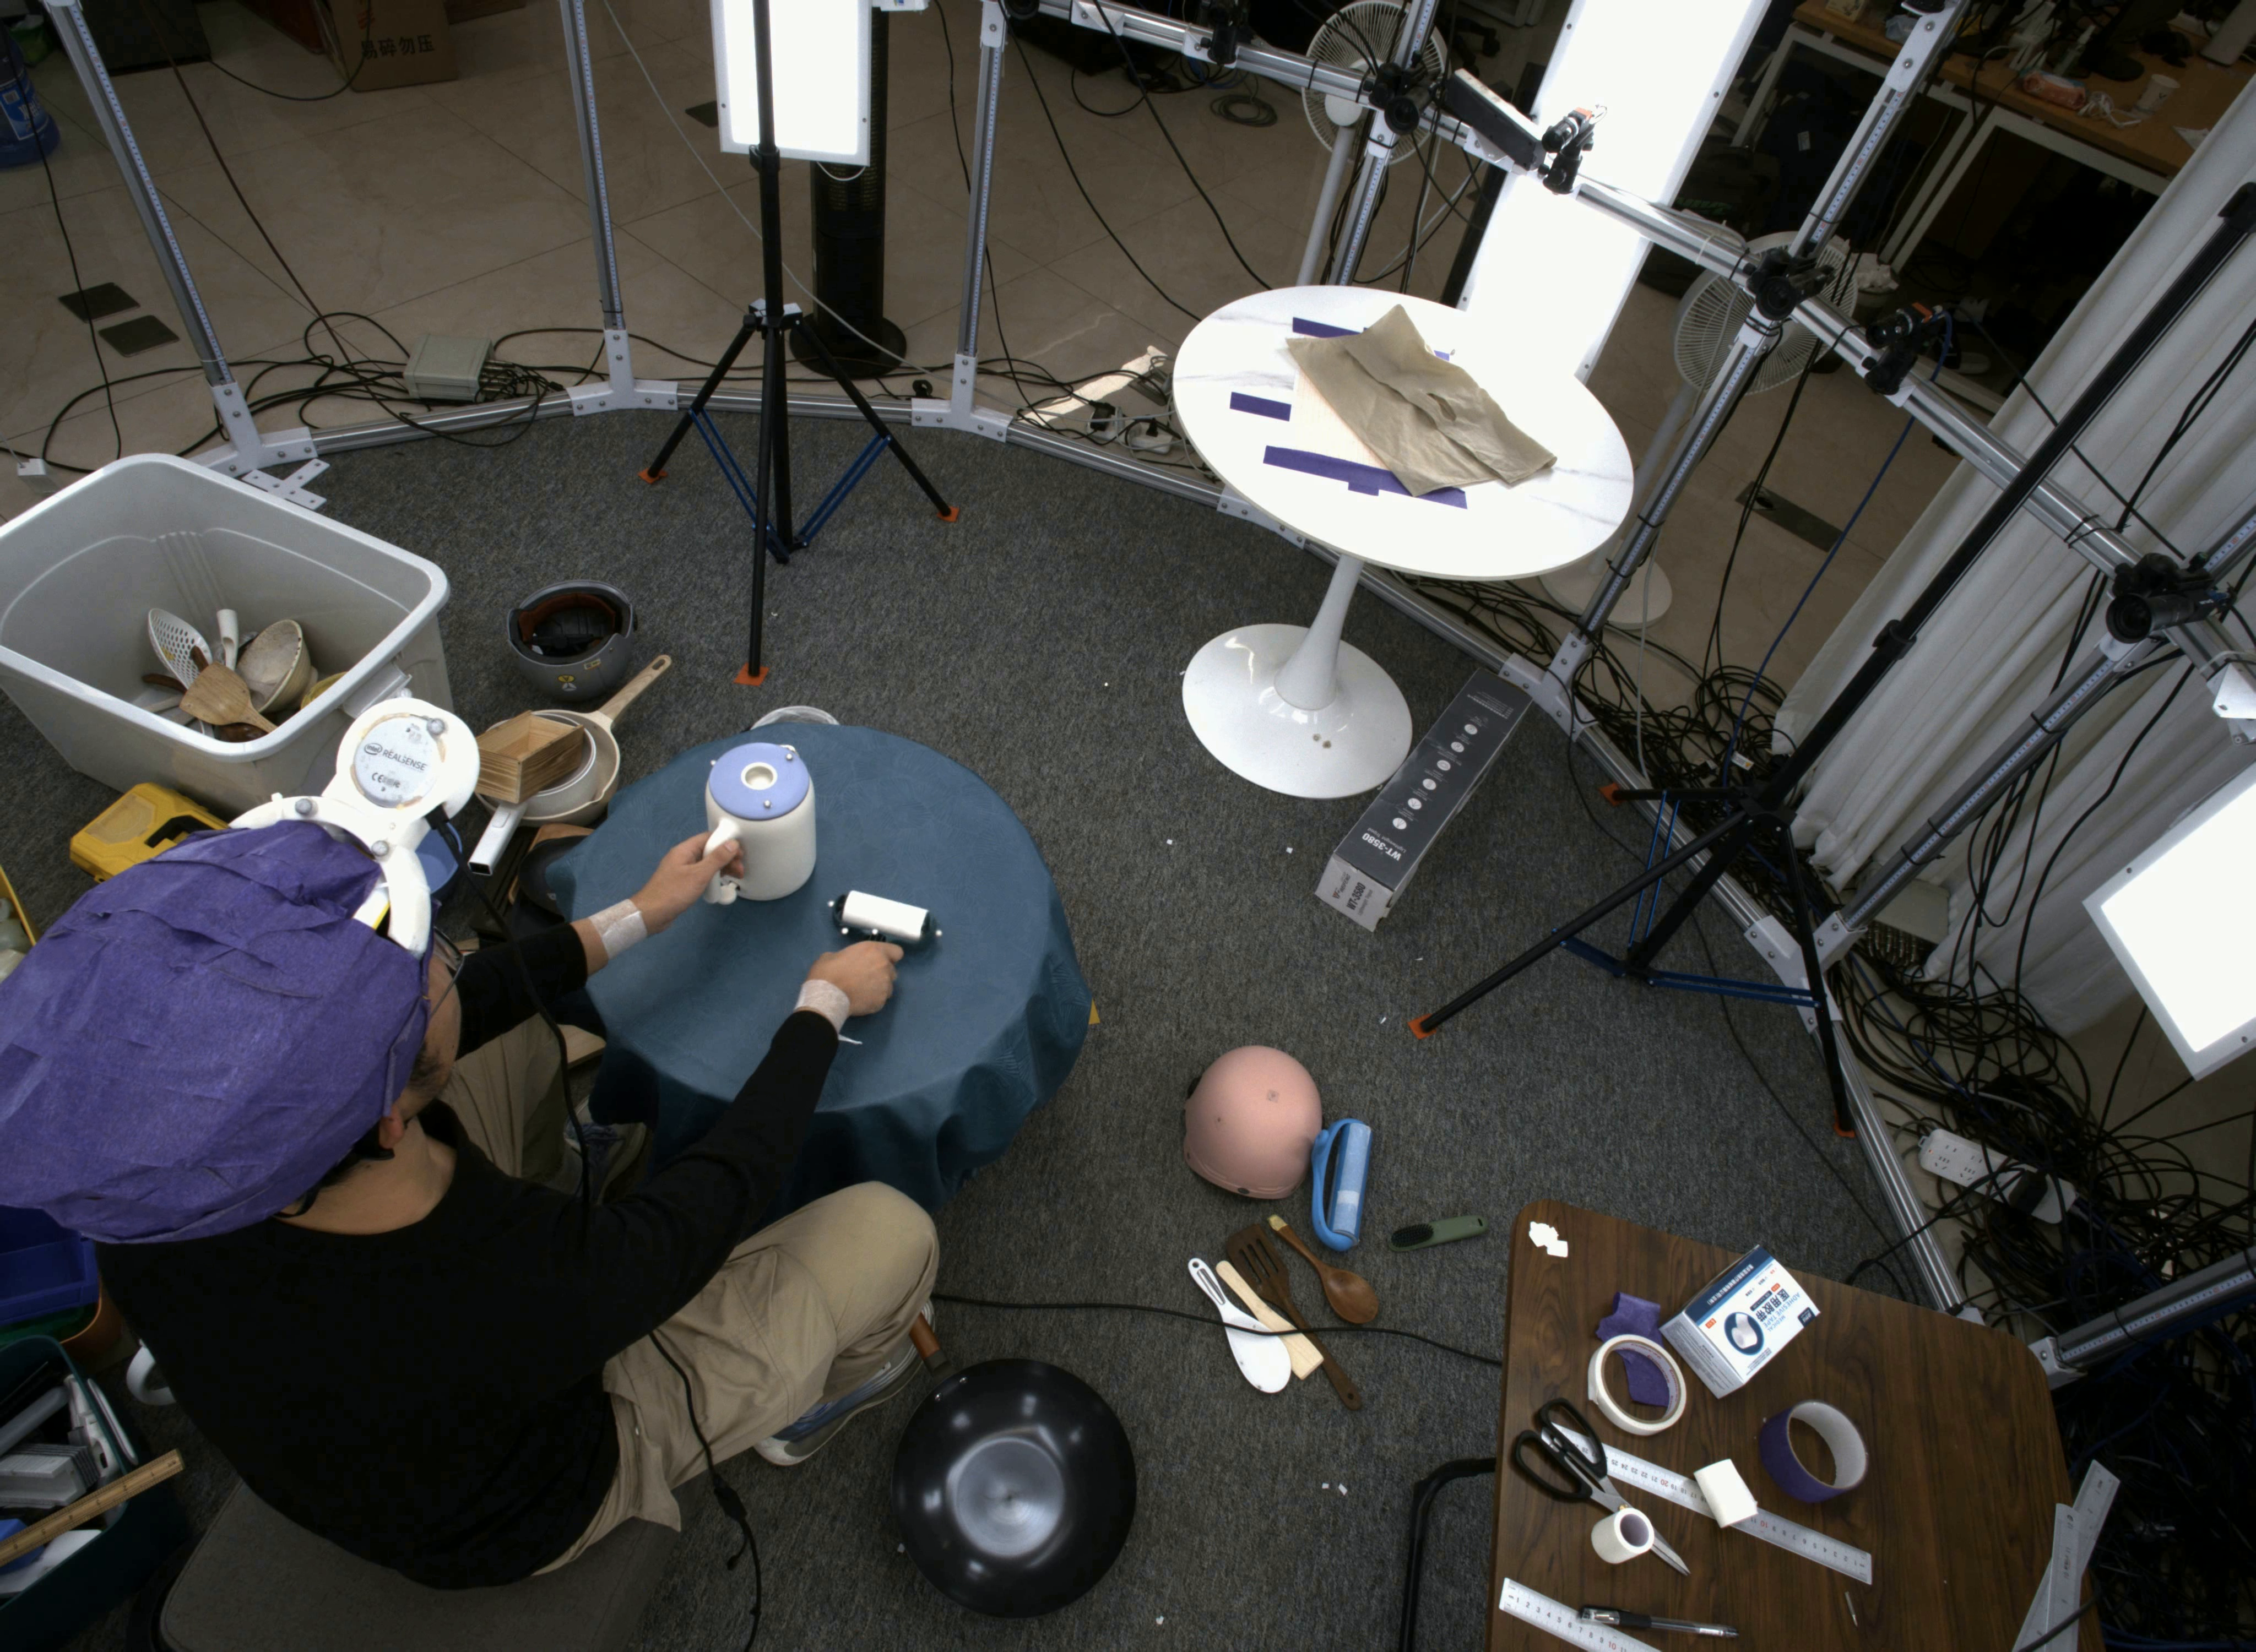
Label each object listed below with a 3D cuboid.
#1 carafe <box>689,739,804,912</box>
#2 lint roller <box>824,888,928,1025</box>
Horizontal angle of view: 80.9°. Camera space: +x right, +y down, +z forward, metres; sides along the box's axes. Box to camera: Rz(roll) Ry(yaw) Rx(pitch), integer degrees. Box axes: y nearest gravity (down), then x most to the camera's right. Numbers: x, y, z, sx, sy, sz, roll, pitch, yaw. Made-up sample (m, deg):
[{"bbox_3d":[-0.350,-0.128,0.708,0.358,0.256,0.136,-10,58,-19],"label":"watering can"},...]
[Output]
[{"bbox_3d":[-0.480,0.011,1.584,0.130,0.186,0.189,22,53,6],"label":"carafe"},{"bbox_3d":[-0.328,0.157,1.581,0.133,0.049,0.177,17,42,-1],"label":"lint roller"}]
